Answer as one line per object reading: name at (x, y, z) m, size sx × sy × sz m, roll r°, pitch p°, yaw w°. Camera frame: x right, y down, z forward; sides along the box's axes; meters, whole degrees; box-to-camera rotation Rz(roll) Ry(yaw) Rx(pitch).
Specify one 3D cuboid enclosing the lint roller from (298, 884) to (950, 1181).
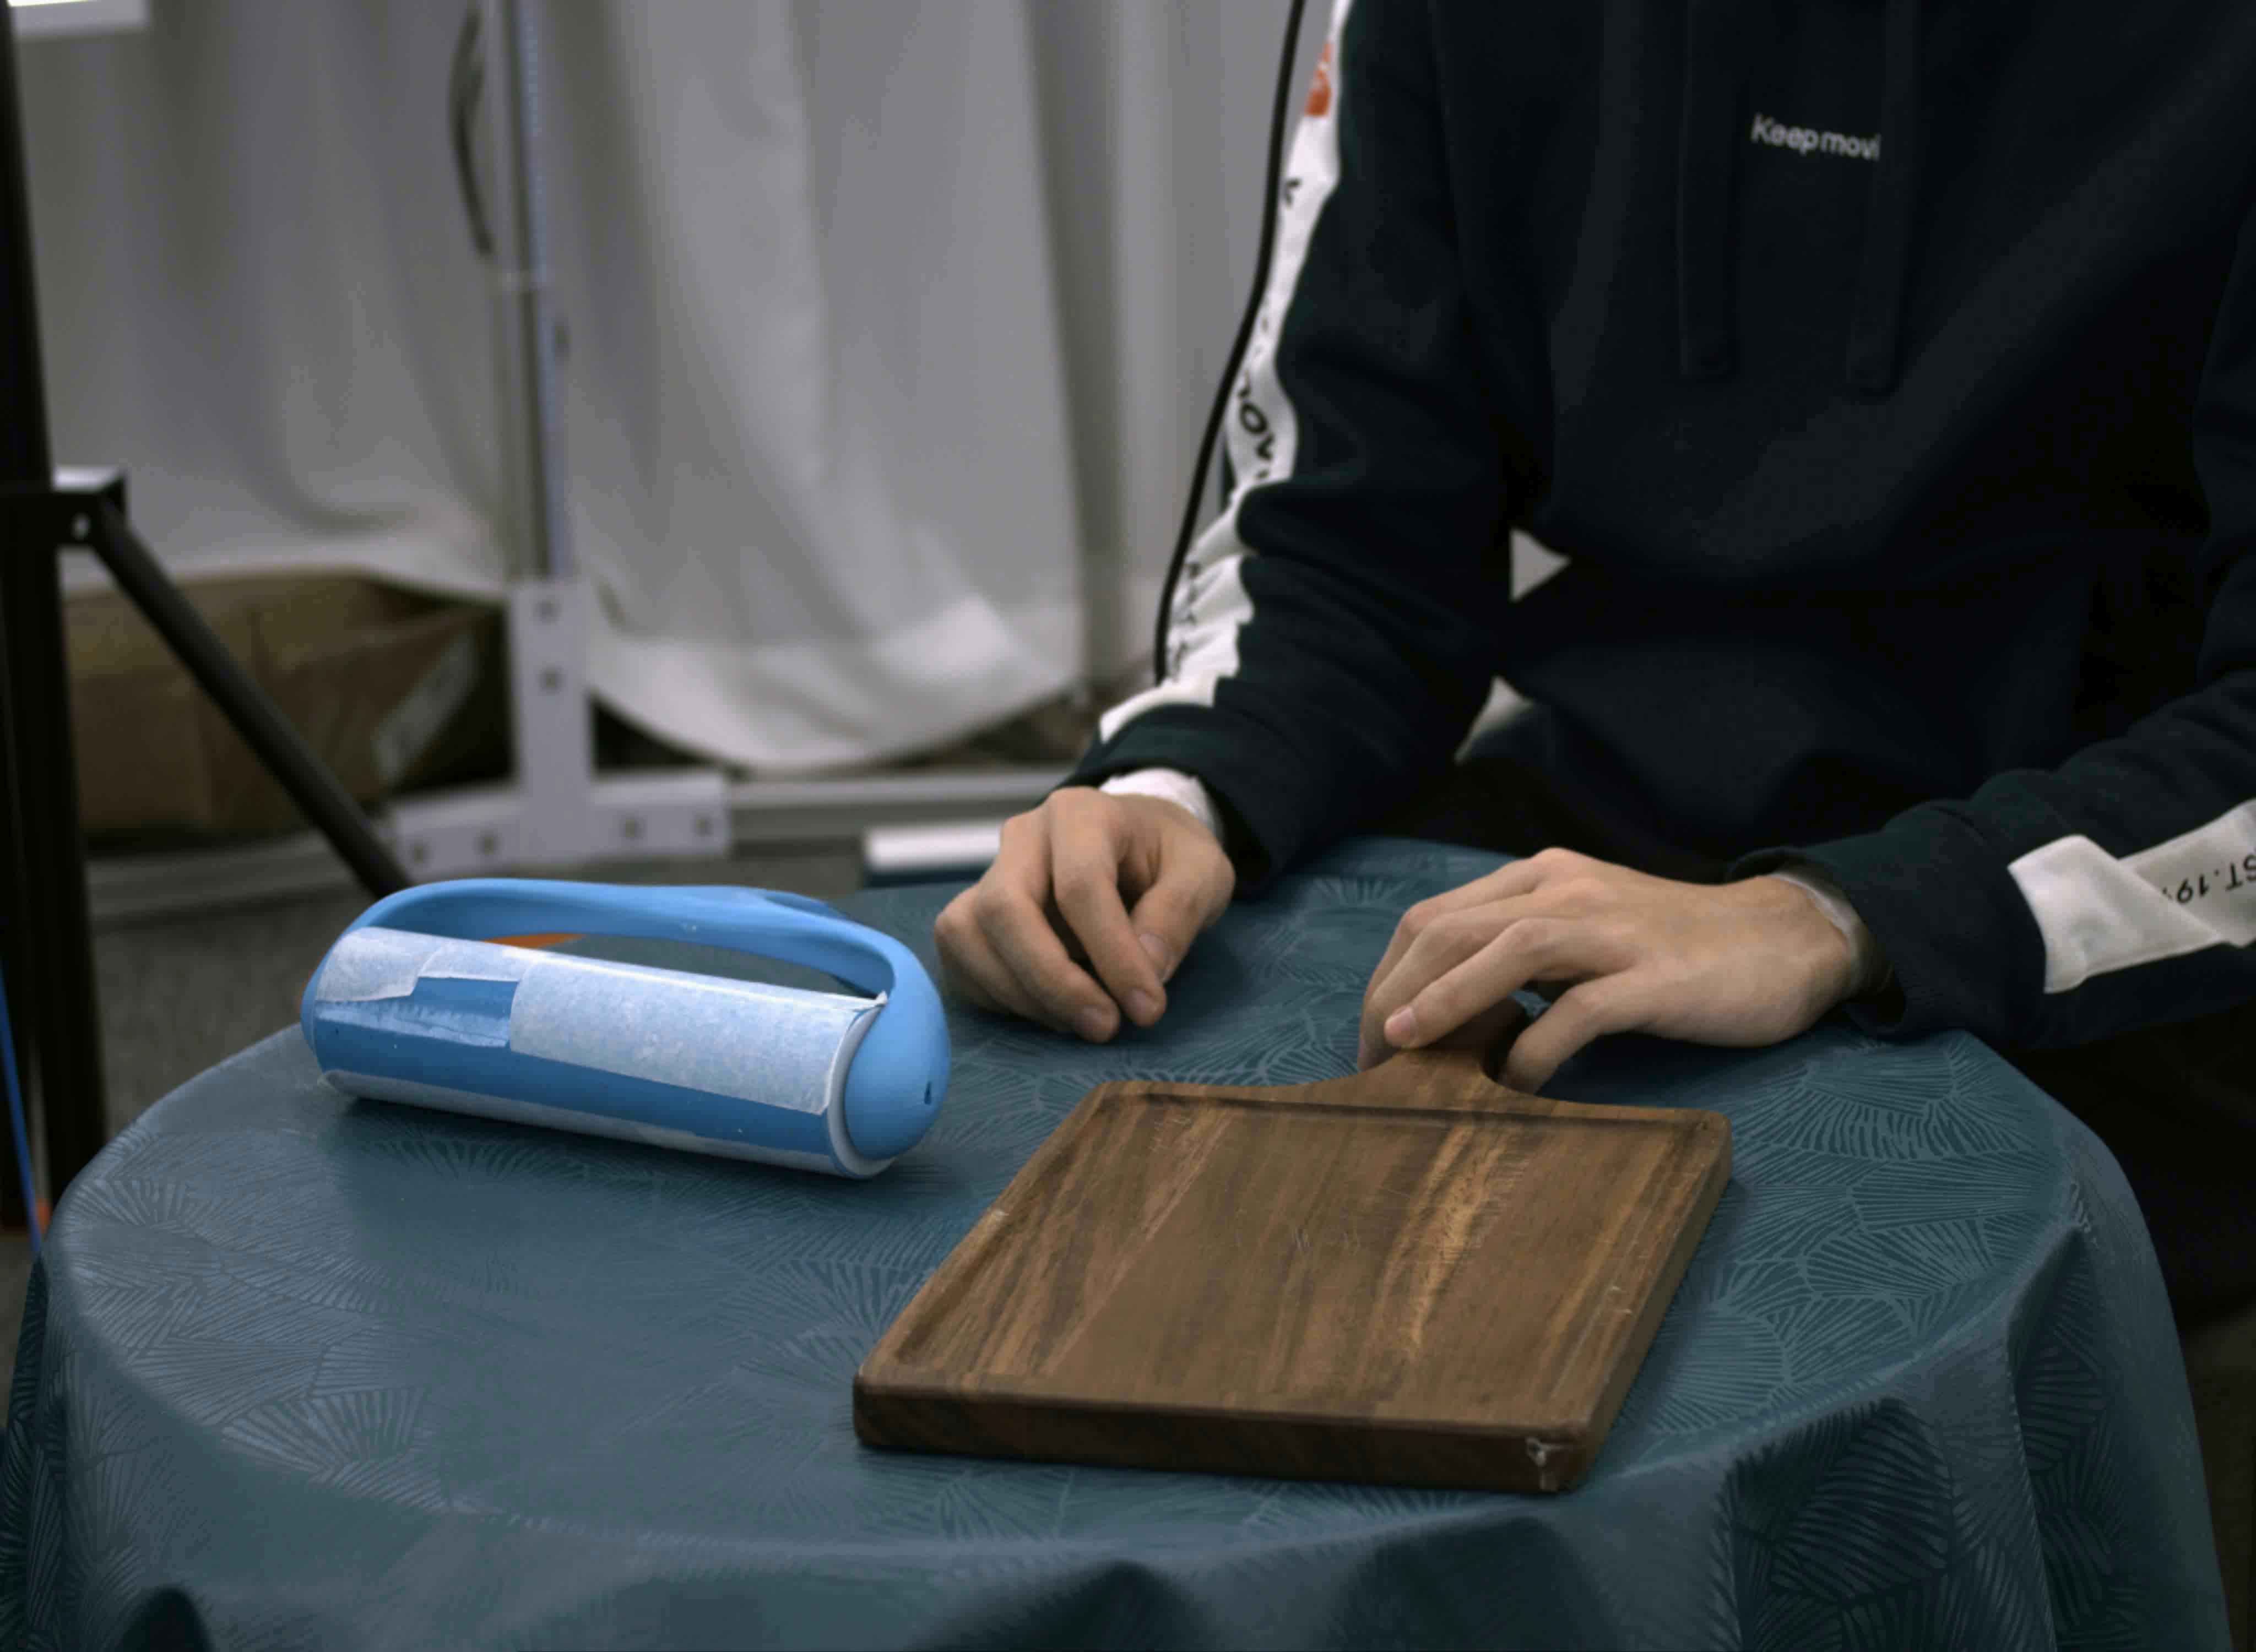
lint roller at (-0.130, 0.052, 1.674) m, size 0.233 × 0.068 × 0.177 m, roll 5°, pitch 18°, yaw 29°

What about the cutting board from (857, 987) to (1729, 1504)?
cutting board at (0.065, 0.109, 1.503) m, size 0.202 × 0.023 × 0.349 m, roll 2°, pitch 17°, yaw 15°
